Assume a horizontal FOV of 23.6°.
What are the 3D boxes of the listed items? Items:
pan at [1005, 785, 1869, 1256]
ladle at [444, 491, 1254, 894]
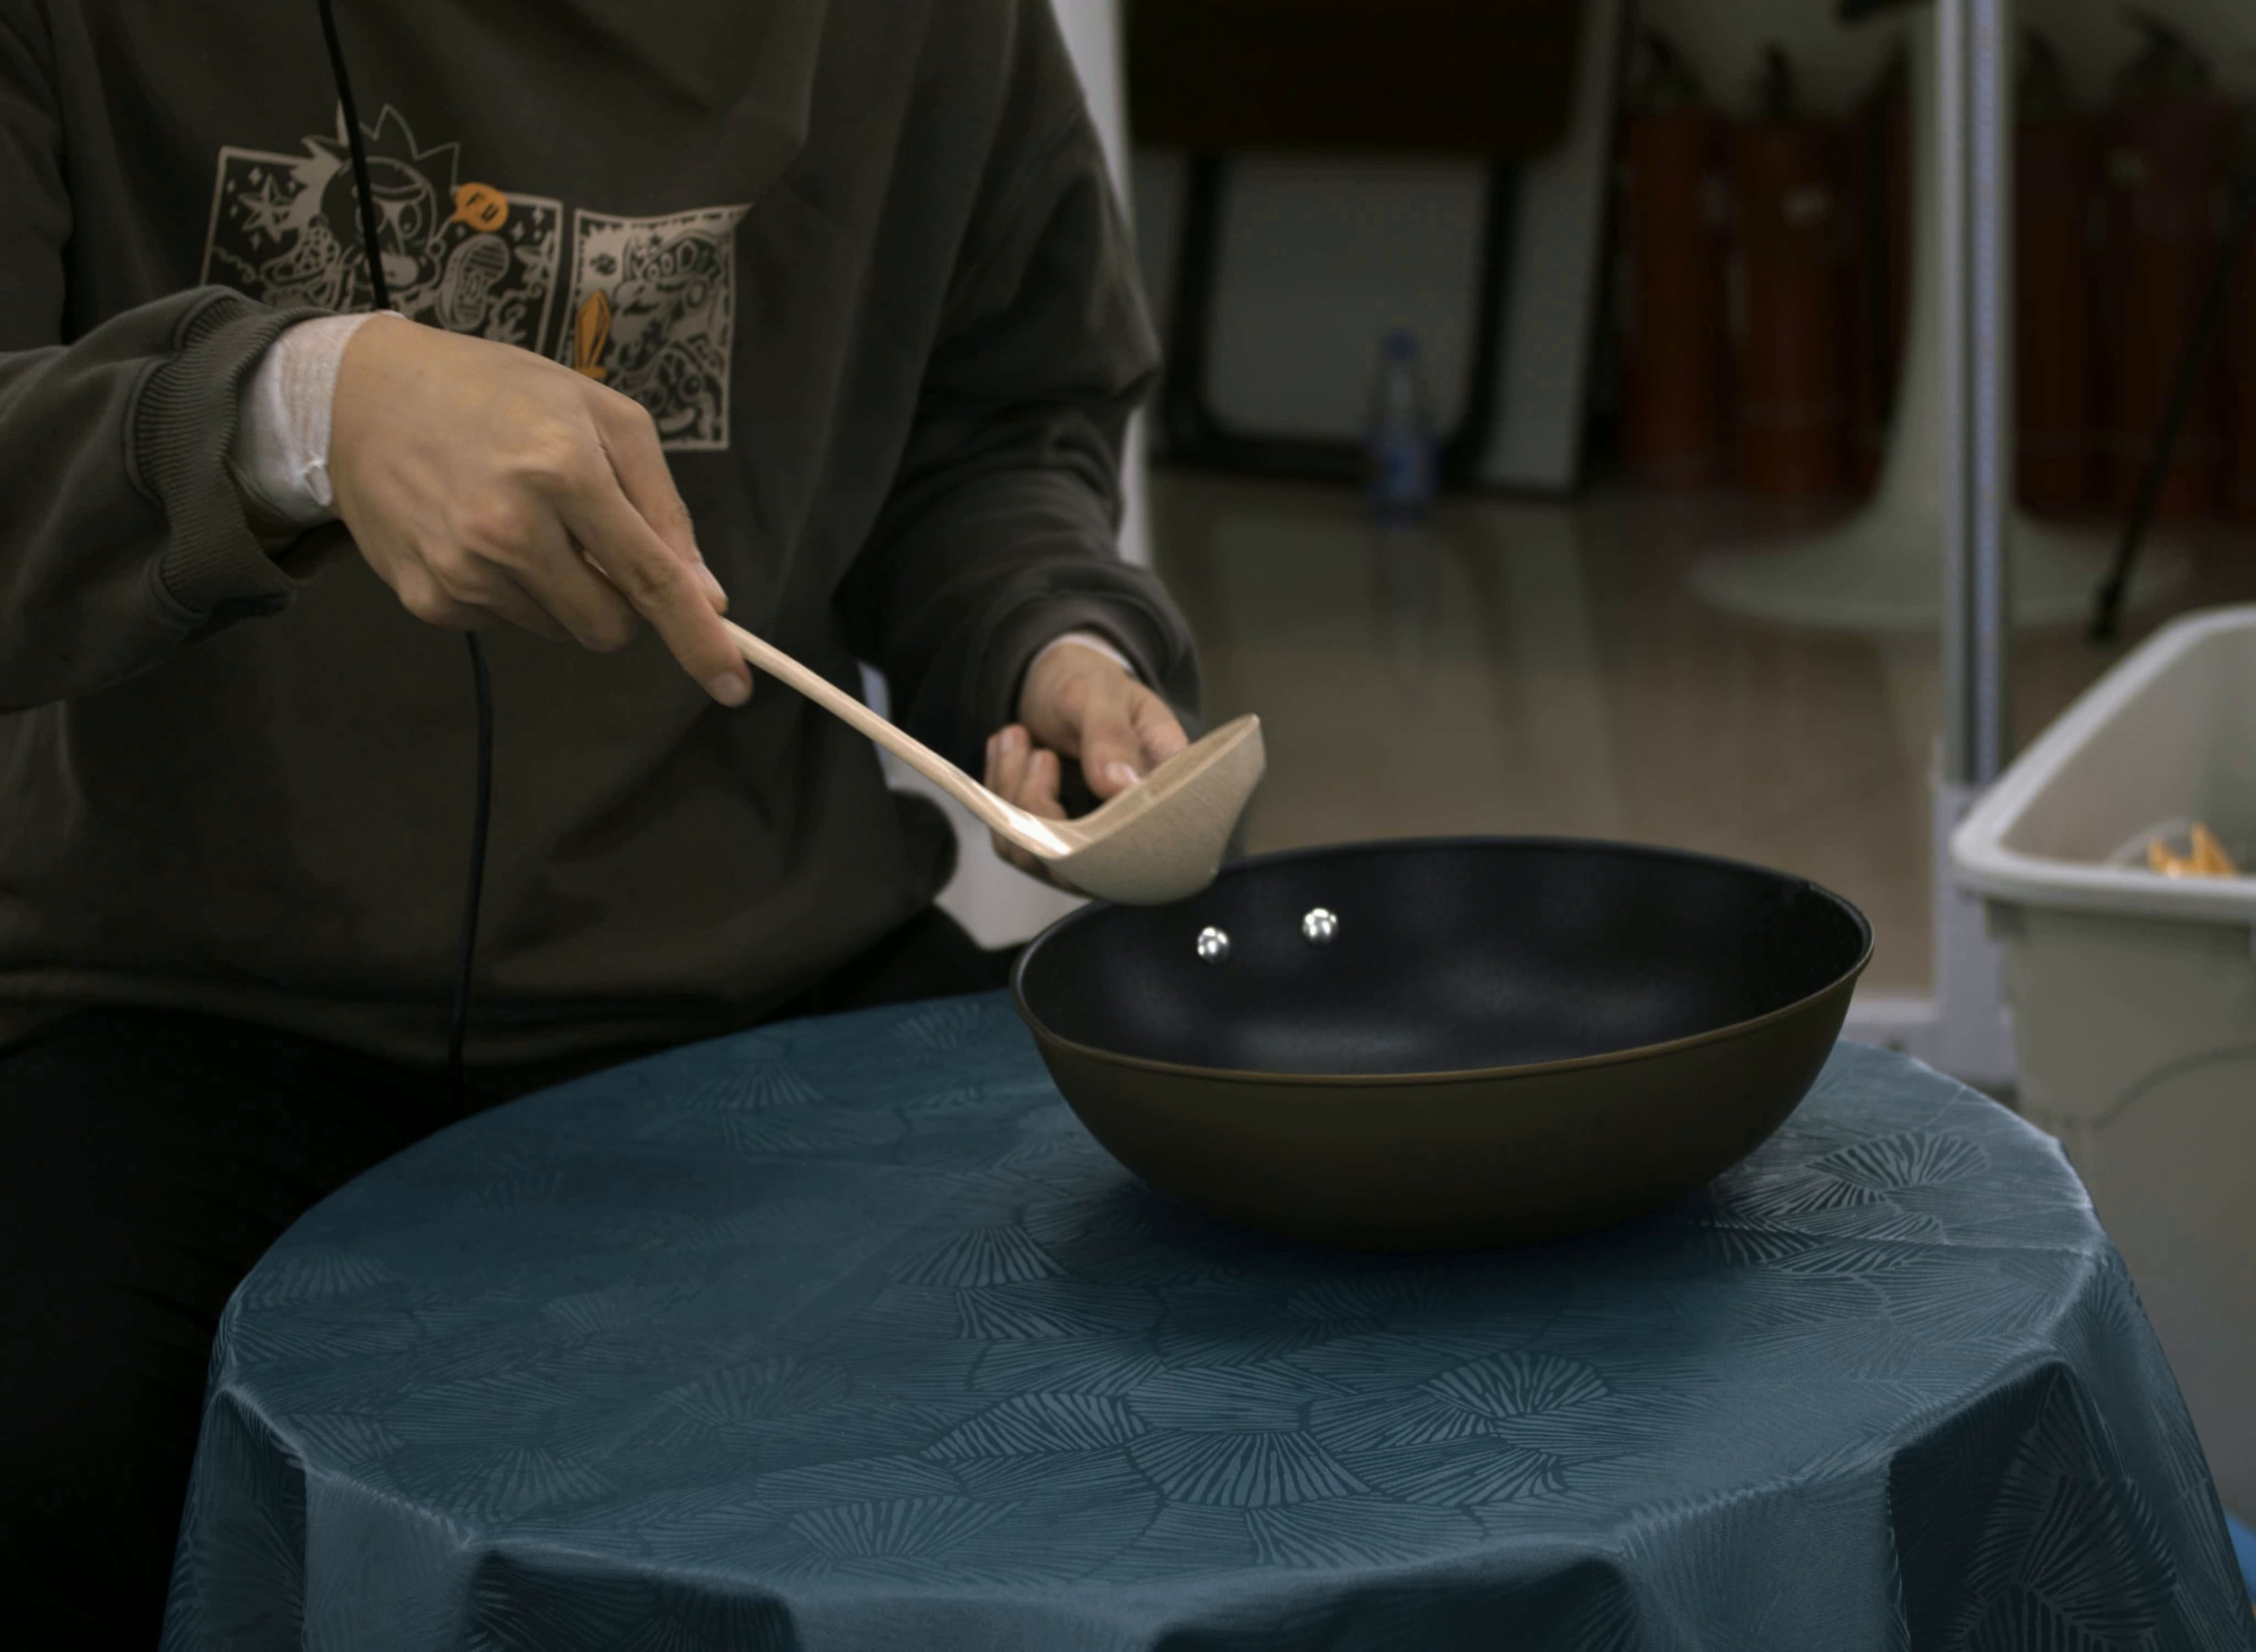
[{"bbox_3d":[0.063,0.062,1.828,0.282,0.088,0.468,-10,14,-23],"label":"pan"},{"bbox_3d":[-0.080,-0.064,1.611,0.253,0.073,0.072,30,22,2],"label":"ladle"}]
